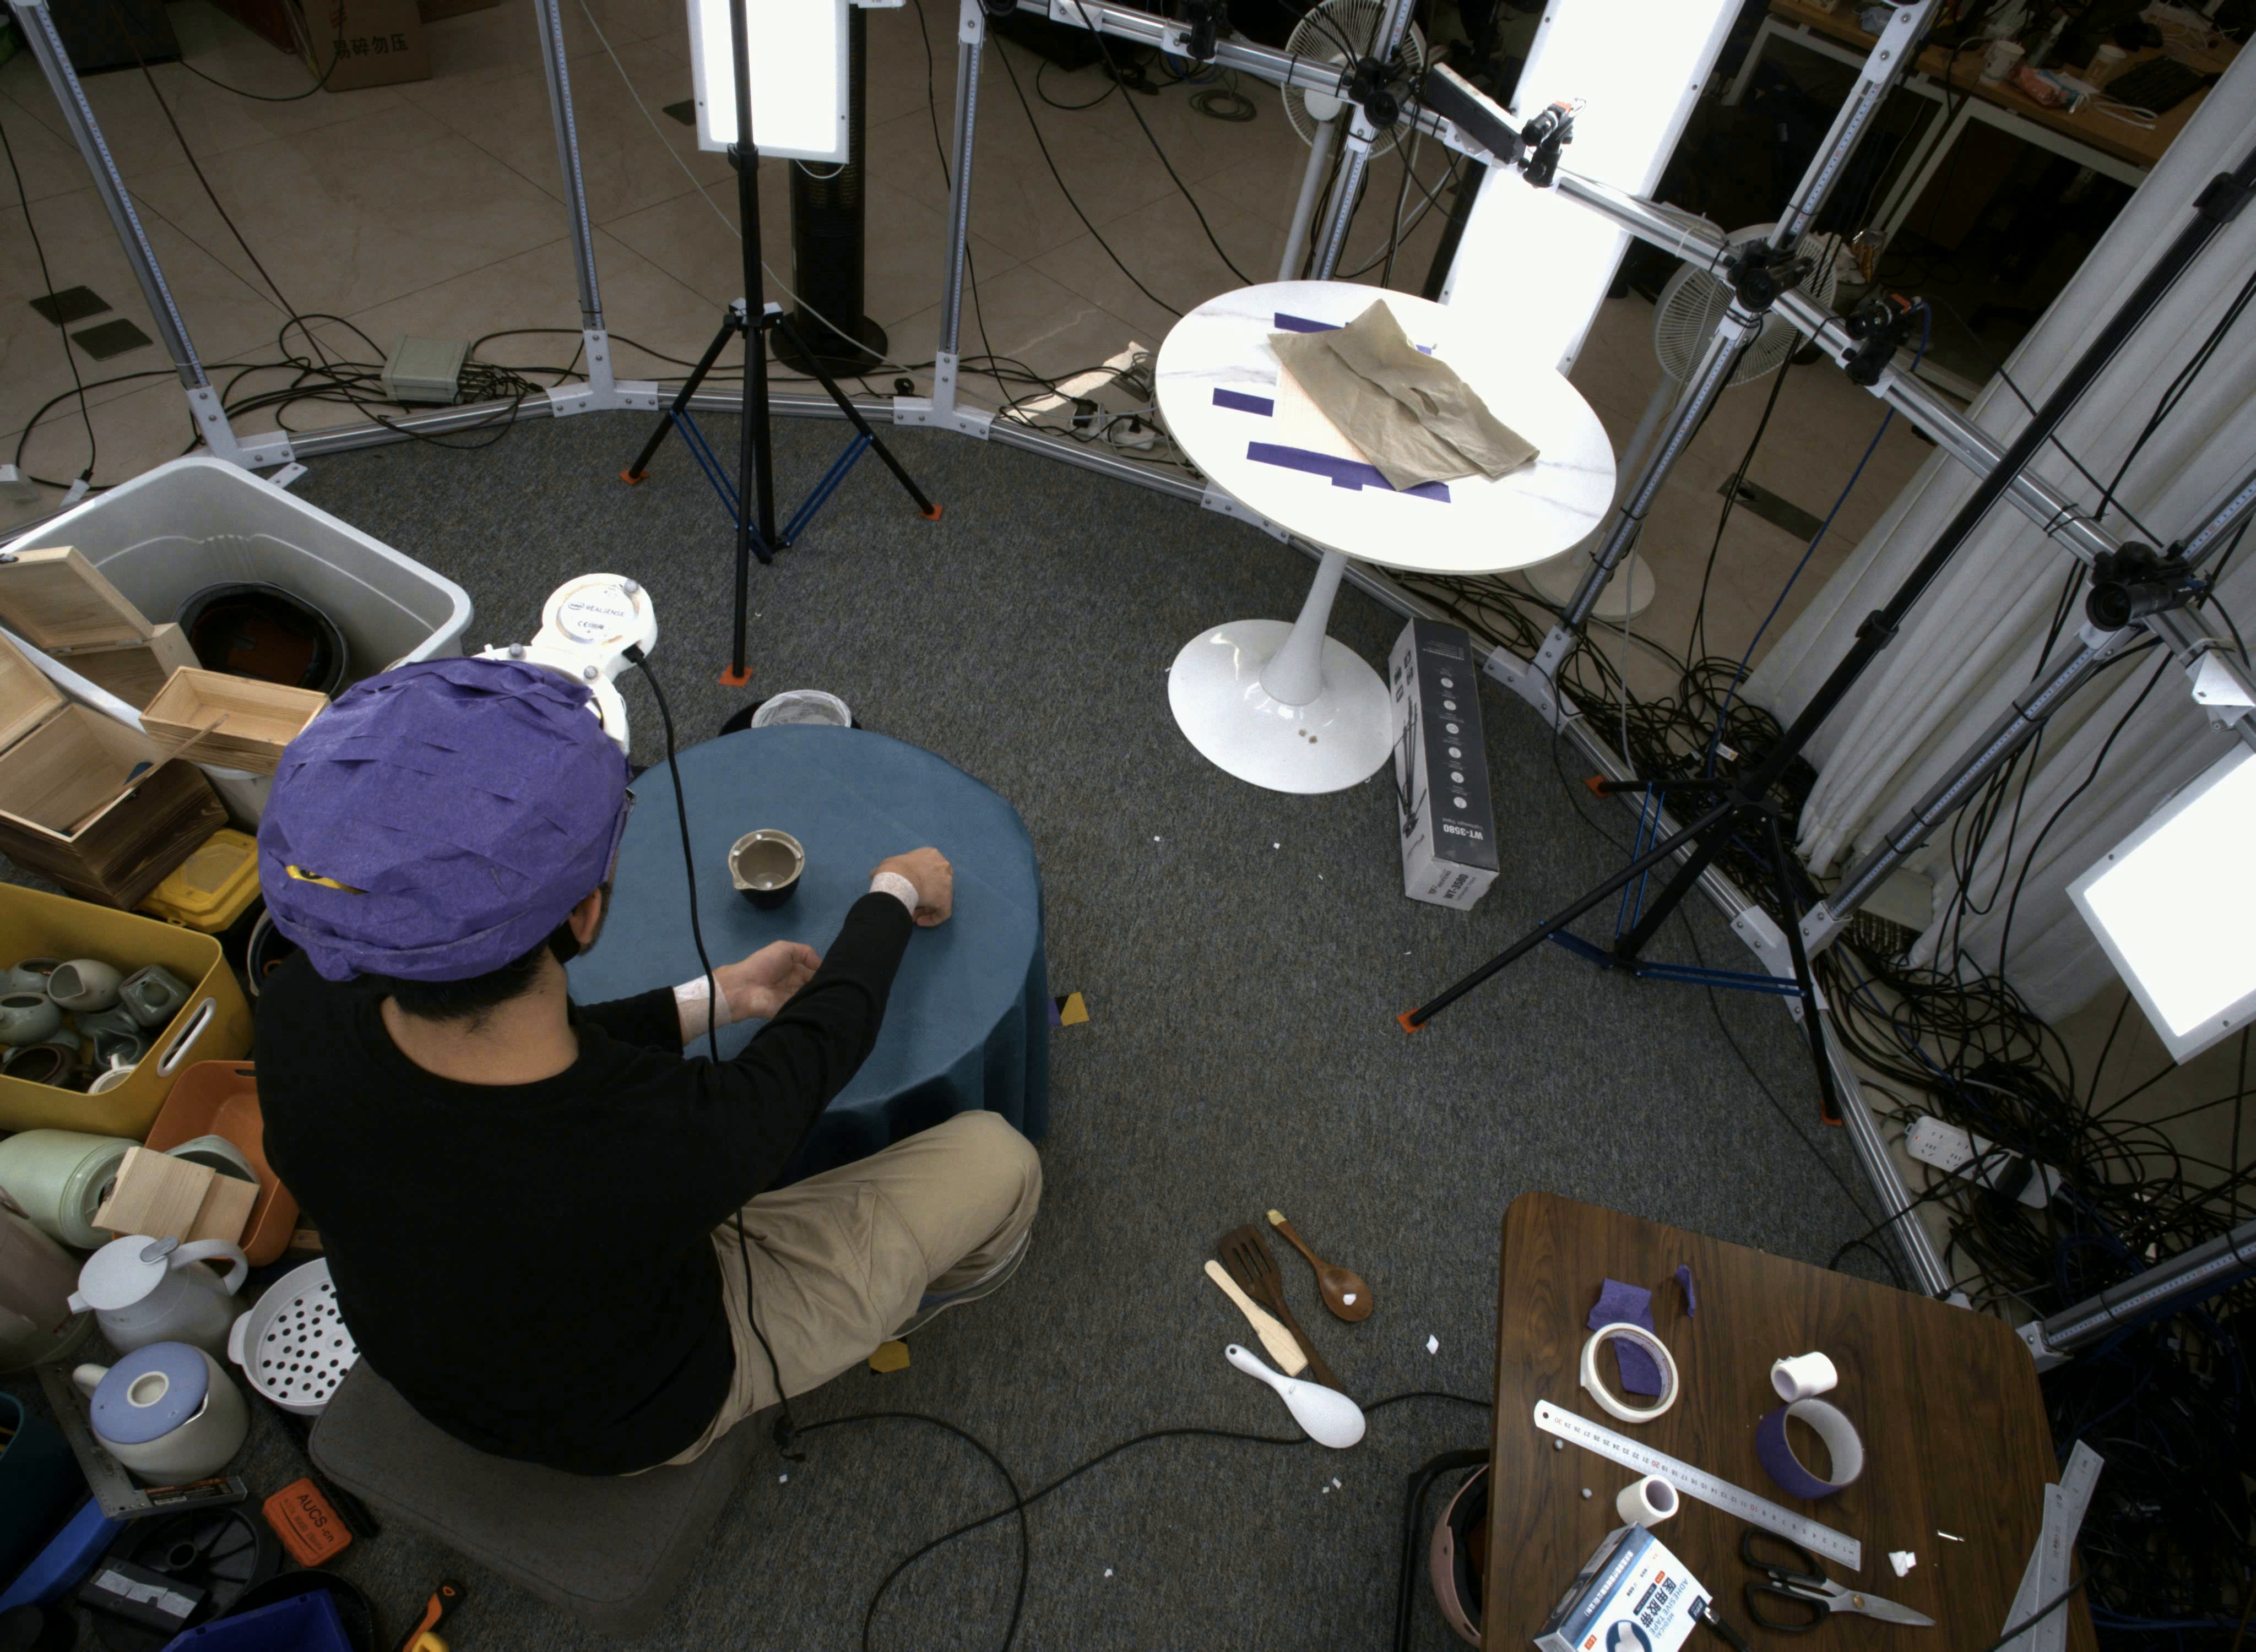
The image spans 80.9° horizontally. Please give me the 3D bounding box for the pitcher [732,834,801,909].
[{"bbox_3d":[-0.454,0.063,1.616,0.082,0.073,0.096,32,52,11],"label":"pitcher"}]

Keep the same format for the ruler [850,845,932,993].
[{"bbox_3d":[-0.300,0.111,1.646,0.038,0.024,0.216,22,56,-6],"label":"ruler"}]
